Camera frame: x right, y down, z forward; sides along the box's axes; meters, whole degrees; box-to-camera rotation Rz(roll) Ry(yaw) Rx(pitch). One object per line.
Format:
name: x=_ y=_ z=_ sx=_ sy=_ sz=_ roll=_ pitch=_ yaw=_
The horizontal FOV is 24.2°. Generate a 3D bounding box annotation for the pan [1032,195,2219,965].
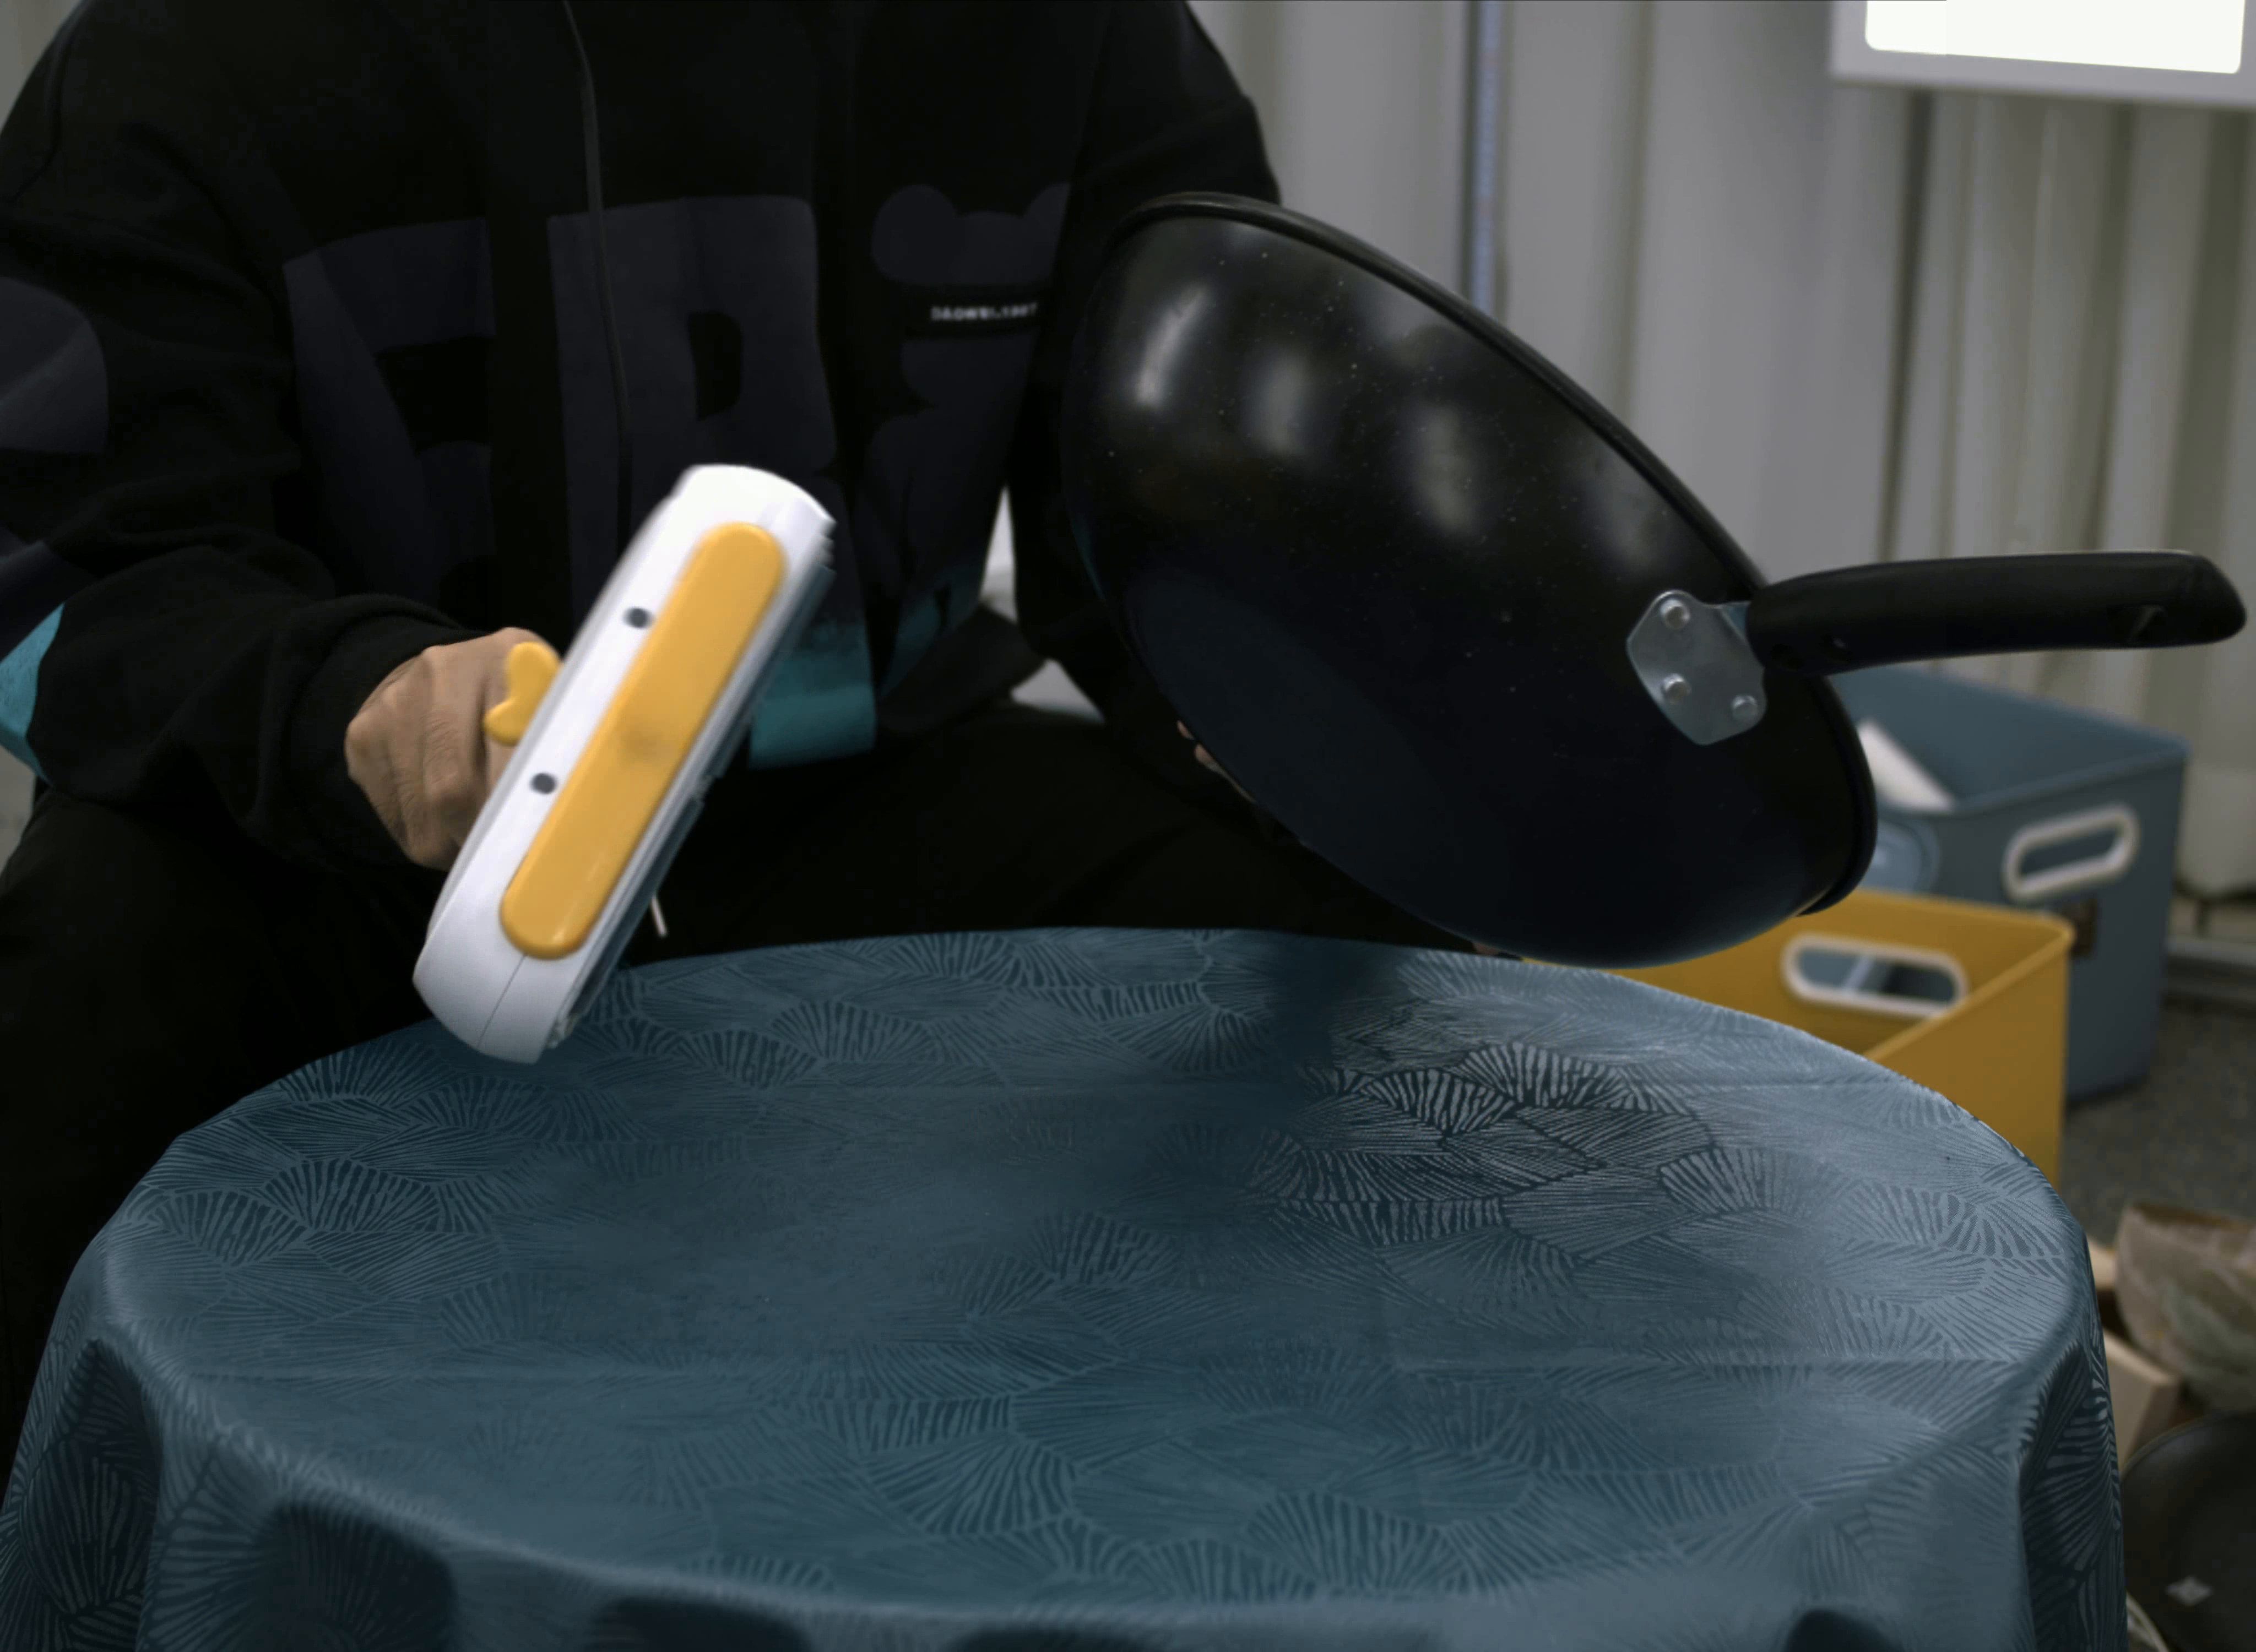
pan: x=0.128 y=-0.053 z=1.563 sx=0.111 sy=0.314 sz=0.471 roll=-50 pitch=29 yaw=-16

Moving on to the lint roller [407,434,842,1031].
lint roller: x=-0.170 y=-0.020 z=1.600 sx=0.074 sy=0.192 sz=0.192 roll=28 pitch=-20 yaw=-13
